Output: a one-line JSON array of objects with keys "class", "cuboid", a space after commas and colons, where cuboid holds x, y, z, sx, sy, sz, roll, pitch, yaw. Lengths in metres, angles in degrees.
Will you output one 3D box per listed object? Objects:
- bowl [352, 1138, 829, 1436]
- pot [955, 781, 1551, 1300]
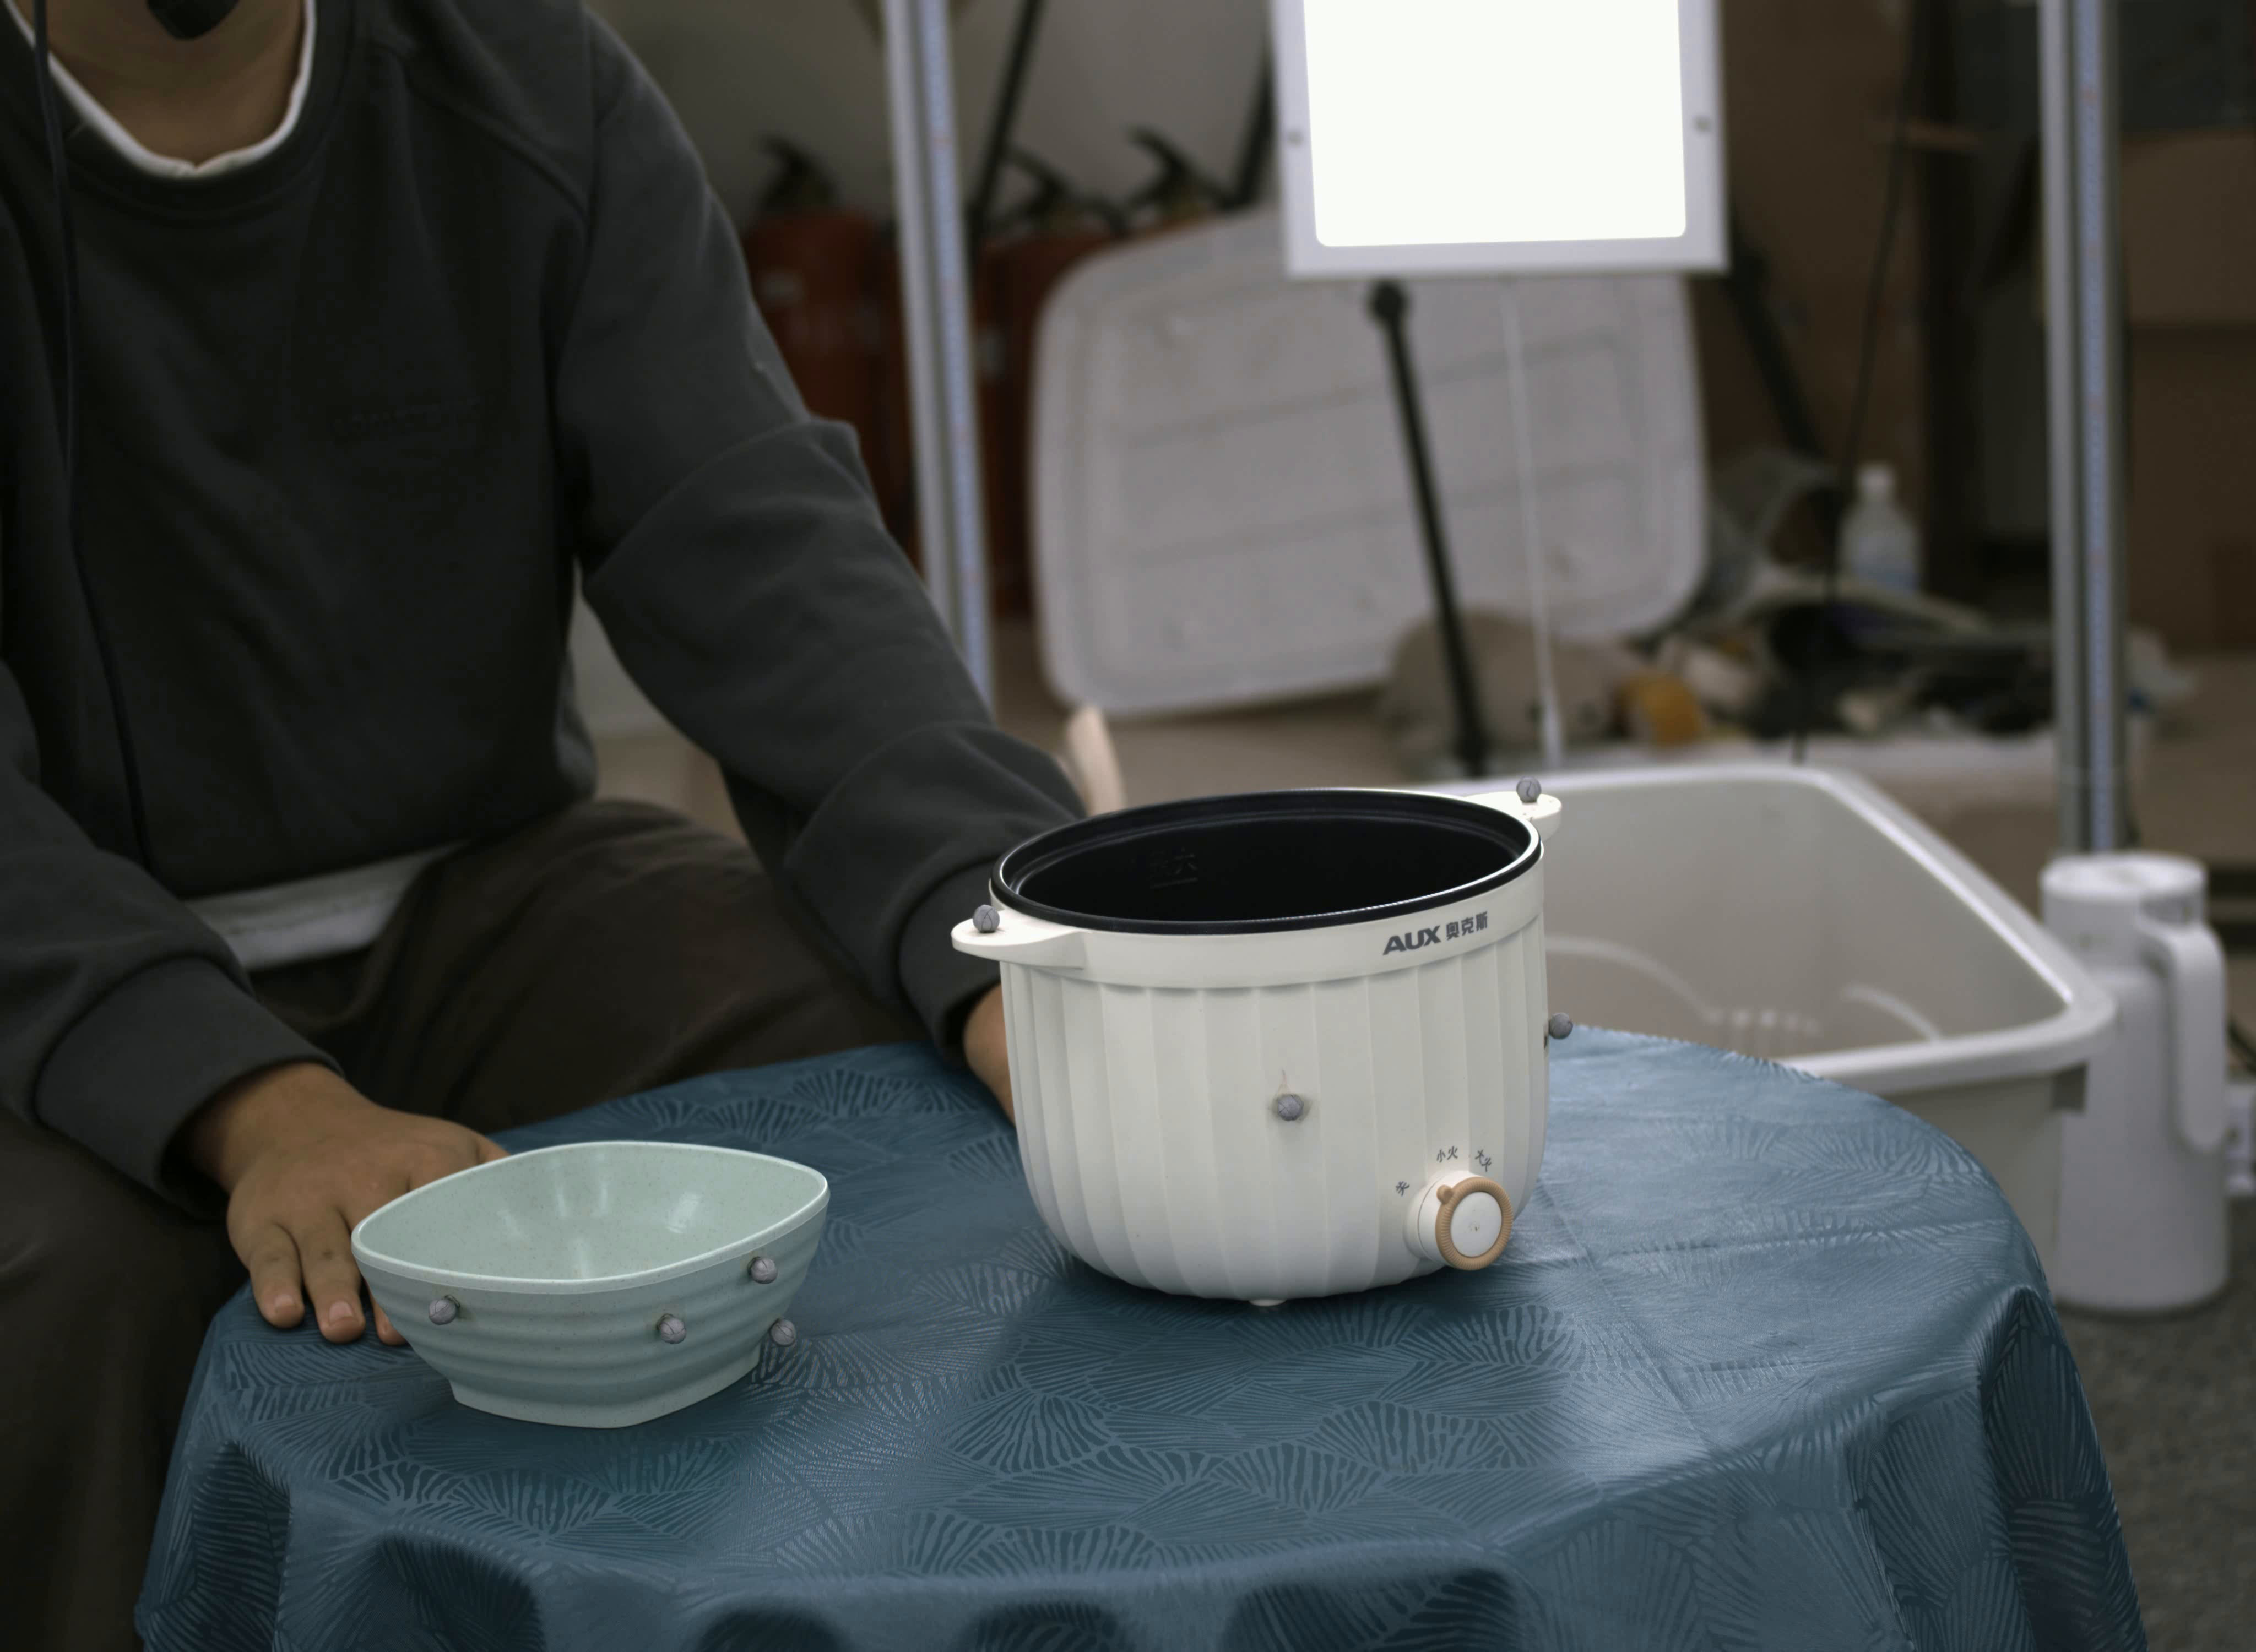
[{"class": "bowl", "cuboid": [-0.168, 0.149, 1.747, 0.151, 0.059, 0.151, -4, 15, 0]}, {"class": "pot", "cuboid": [0.054, 0.071, 1.806, 0.234, 0.143, 0.194, -16, 14, -33]}]
